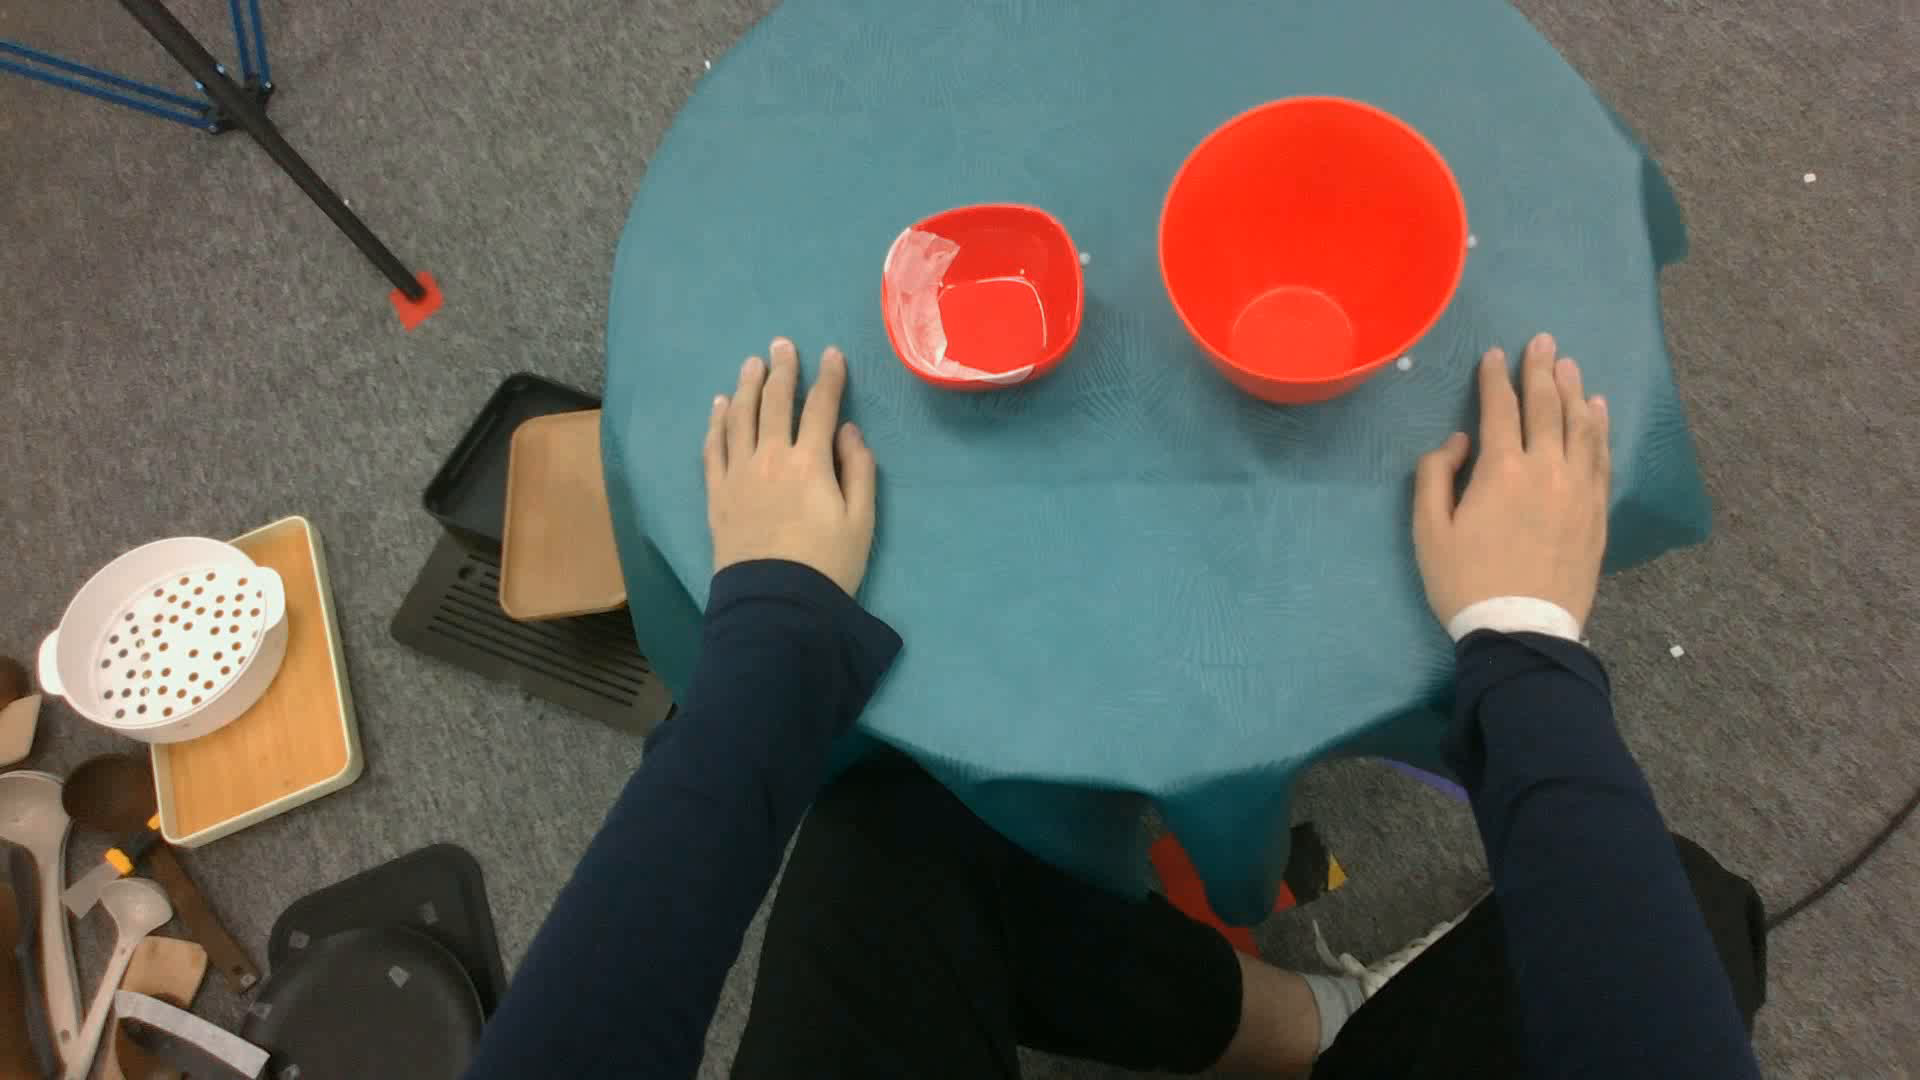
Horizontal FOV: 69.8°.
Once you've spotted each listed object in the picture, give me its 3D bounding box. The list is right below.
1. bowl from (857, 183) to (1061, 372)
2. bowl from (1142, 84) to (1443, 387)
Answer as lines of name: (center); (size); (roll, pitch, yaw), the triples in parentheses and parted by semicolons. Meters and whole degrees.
bowl: (0.001, -0.137, 0.767); (0.119, 0.051, 0.119); (-2, 70, 4)
bowl: (0.169, -0.146, 0.723); (0.148, 0.104, 0.148); (-2, 69, 5)
